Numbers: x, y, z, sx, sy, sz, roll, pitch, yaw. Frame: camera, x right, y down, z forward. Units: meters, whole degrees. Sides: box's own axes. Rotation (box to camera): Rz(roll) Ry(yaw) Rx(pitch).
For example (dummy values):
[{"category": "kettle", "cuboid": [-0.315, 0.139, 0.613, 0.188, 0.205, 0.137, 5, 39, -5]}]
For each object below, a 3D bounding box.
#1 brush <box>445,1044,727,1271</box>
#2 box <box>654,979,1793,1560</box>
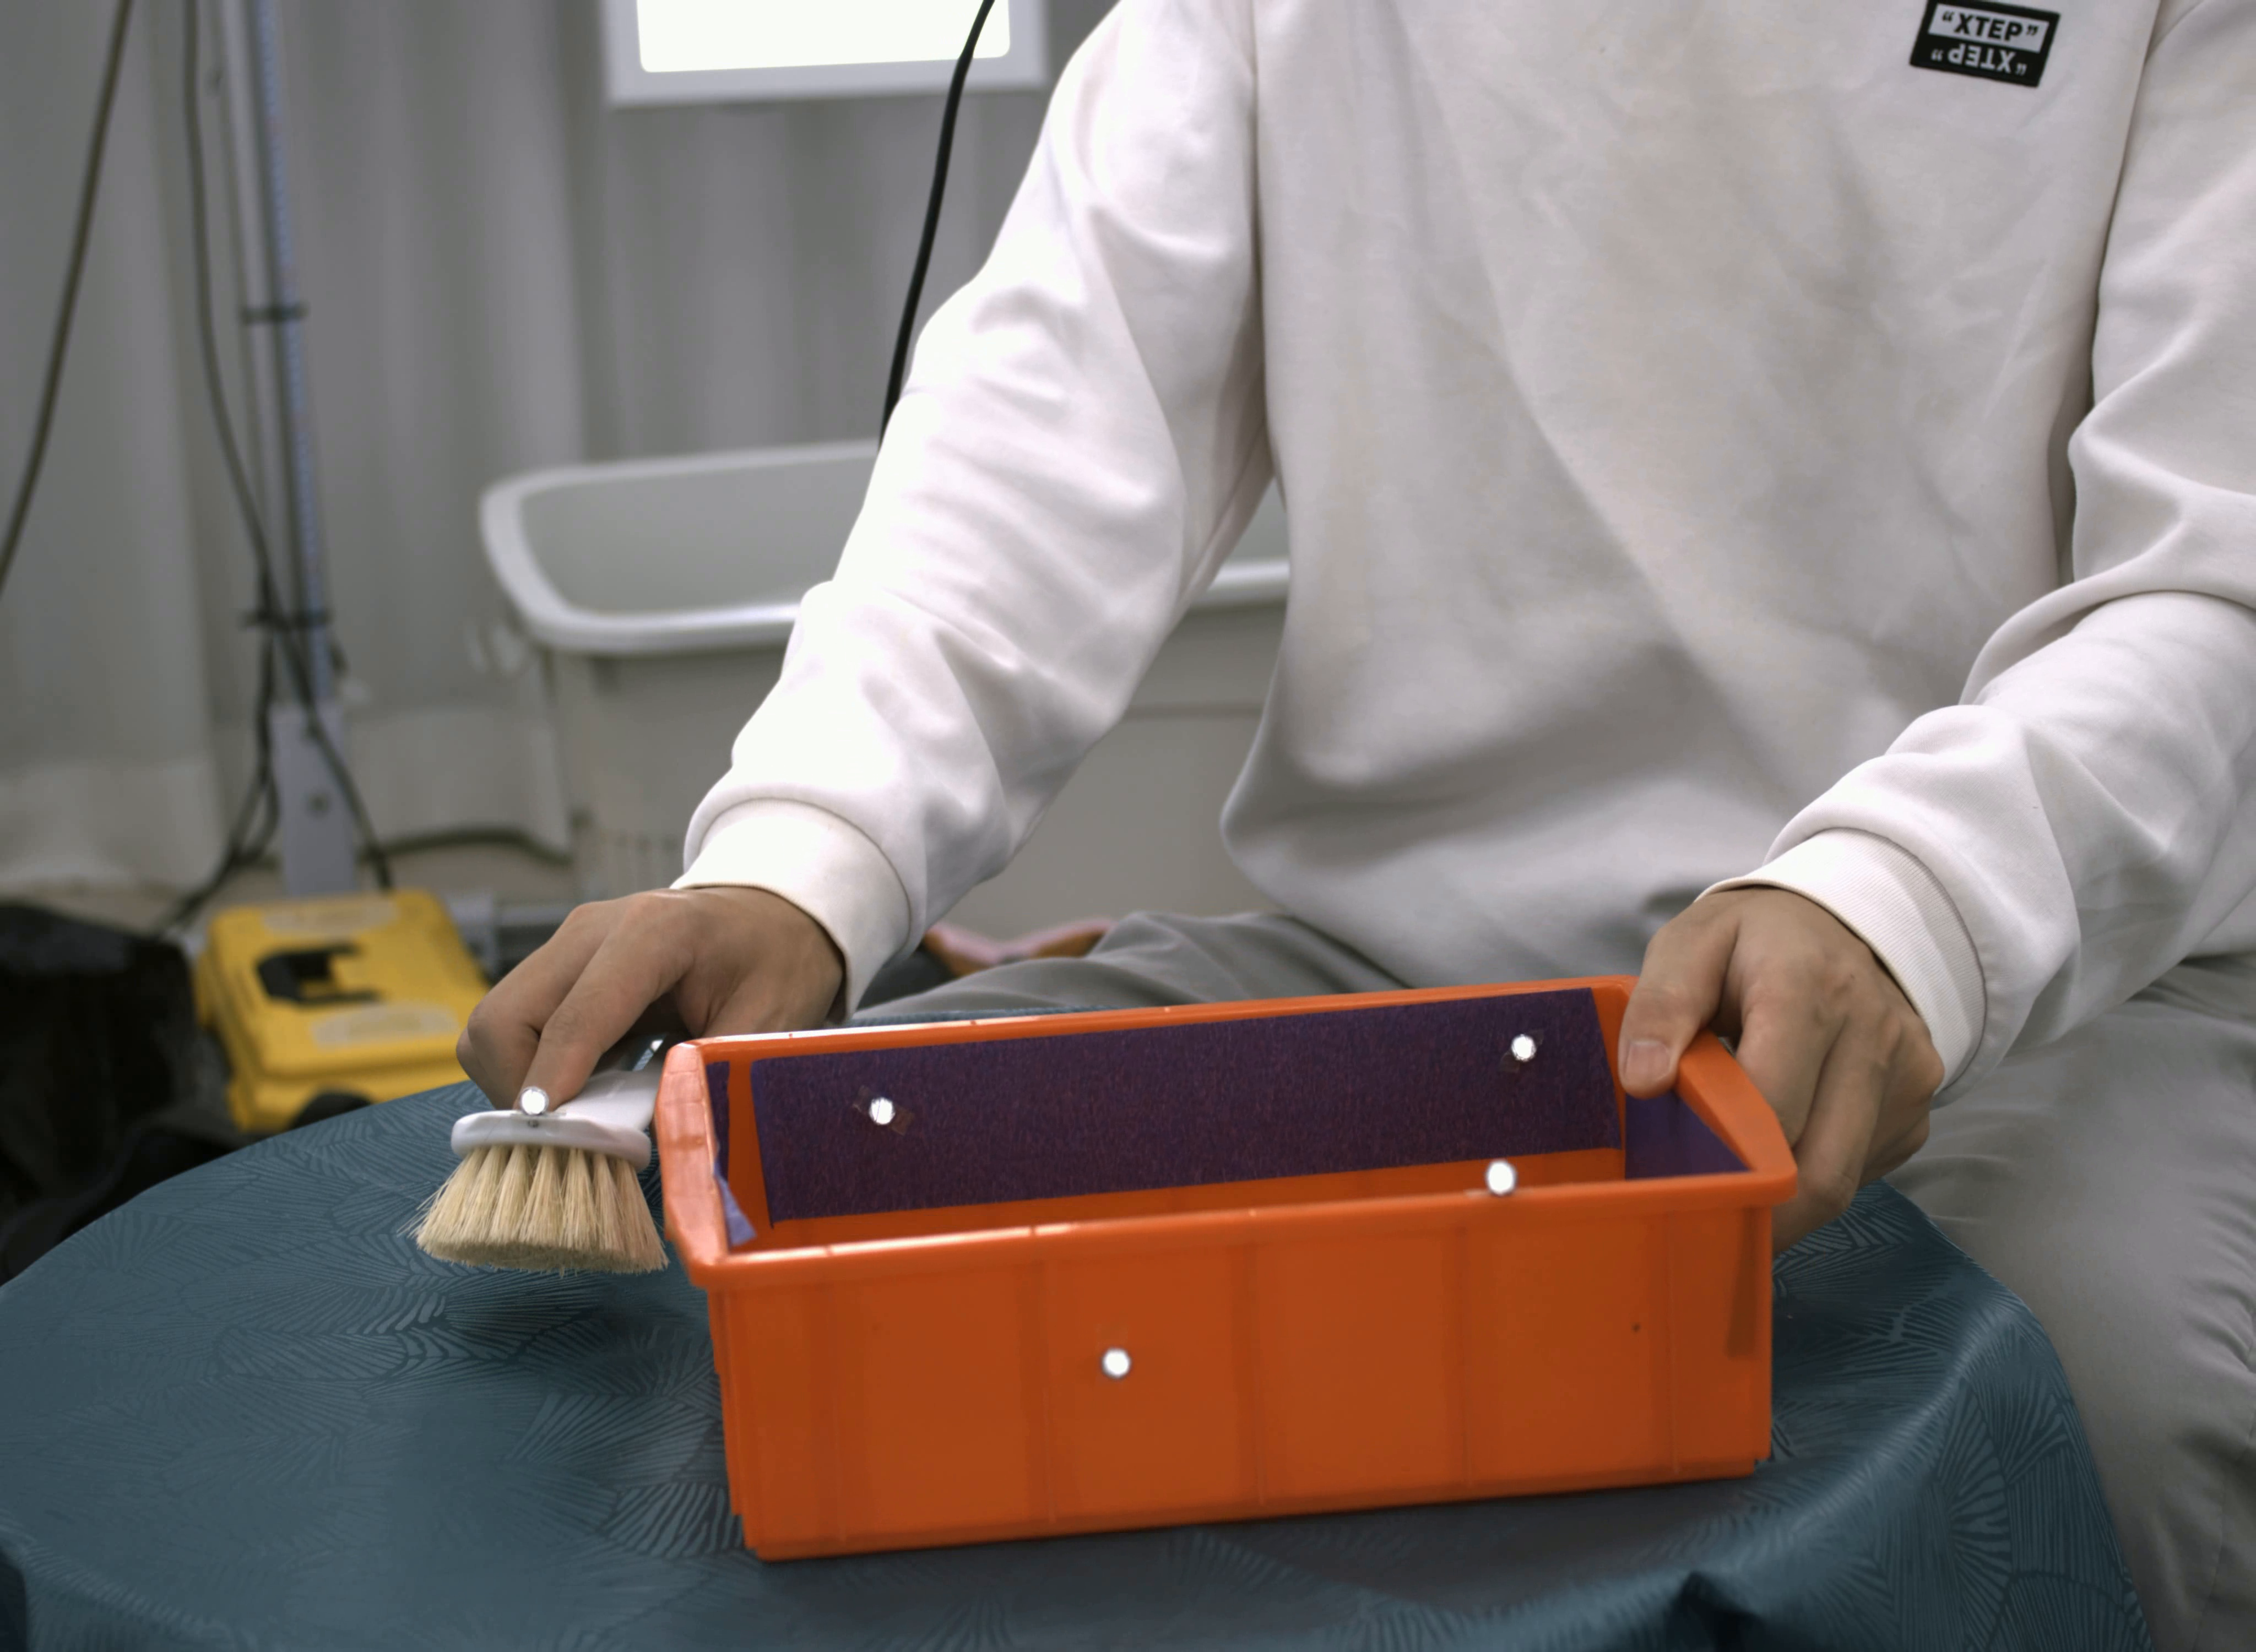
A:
[{"category": "brush", "cuboid": [-0.158, 0.103, 1.717, 0.068, 0.056, 0.266, 11, 1, 3]}, {"category": "box", "cuboid": [0.022, 0.121, 1.523, 0.302, 0.096, 0.208, -2, 13, -5]}]
